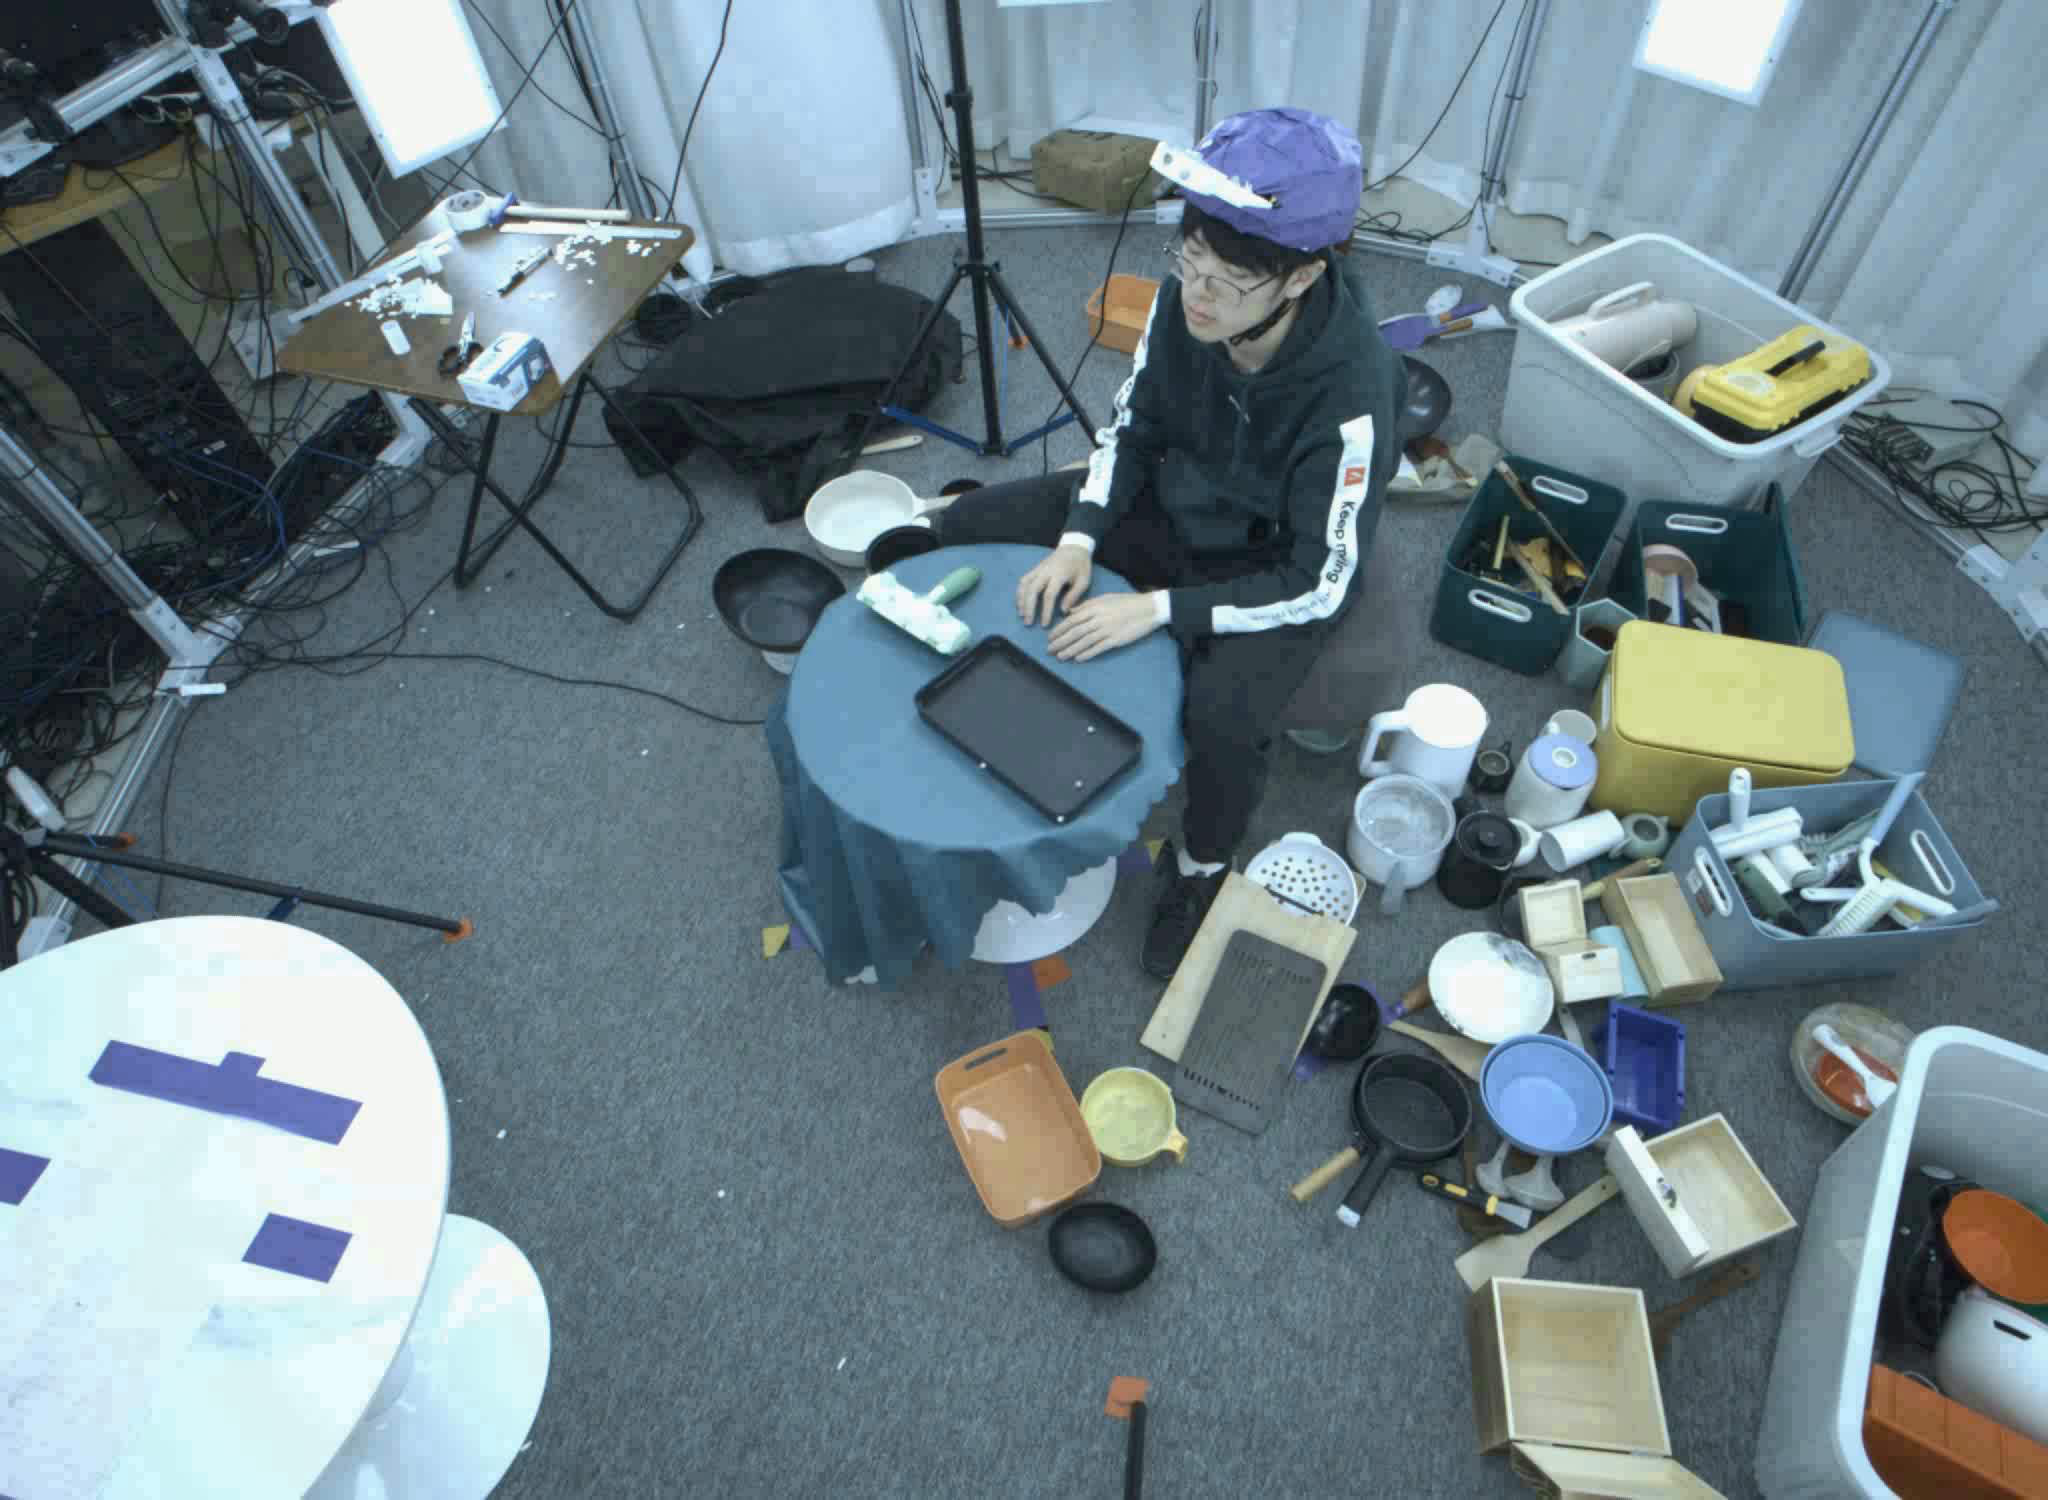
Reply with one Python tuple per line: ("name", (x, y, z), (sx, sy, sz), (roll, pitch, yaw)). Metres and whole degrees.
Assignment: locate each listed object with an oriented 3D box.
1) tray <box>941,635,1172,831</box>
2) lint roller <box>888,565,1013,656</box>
("tray", (0.045, -0.030, 1.781), (0.185, 0.037, 0.312), (-39, 62, -23))
("lint roller", (-0.086, -0.251, 1.915), (0.195, 0.083, 0.184), (35, 66, 24))
